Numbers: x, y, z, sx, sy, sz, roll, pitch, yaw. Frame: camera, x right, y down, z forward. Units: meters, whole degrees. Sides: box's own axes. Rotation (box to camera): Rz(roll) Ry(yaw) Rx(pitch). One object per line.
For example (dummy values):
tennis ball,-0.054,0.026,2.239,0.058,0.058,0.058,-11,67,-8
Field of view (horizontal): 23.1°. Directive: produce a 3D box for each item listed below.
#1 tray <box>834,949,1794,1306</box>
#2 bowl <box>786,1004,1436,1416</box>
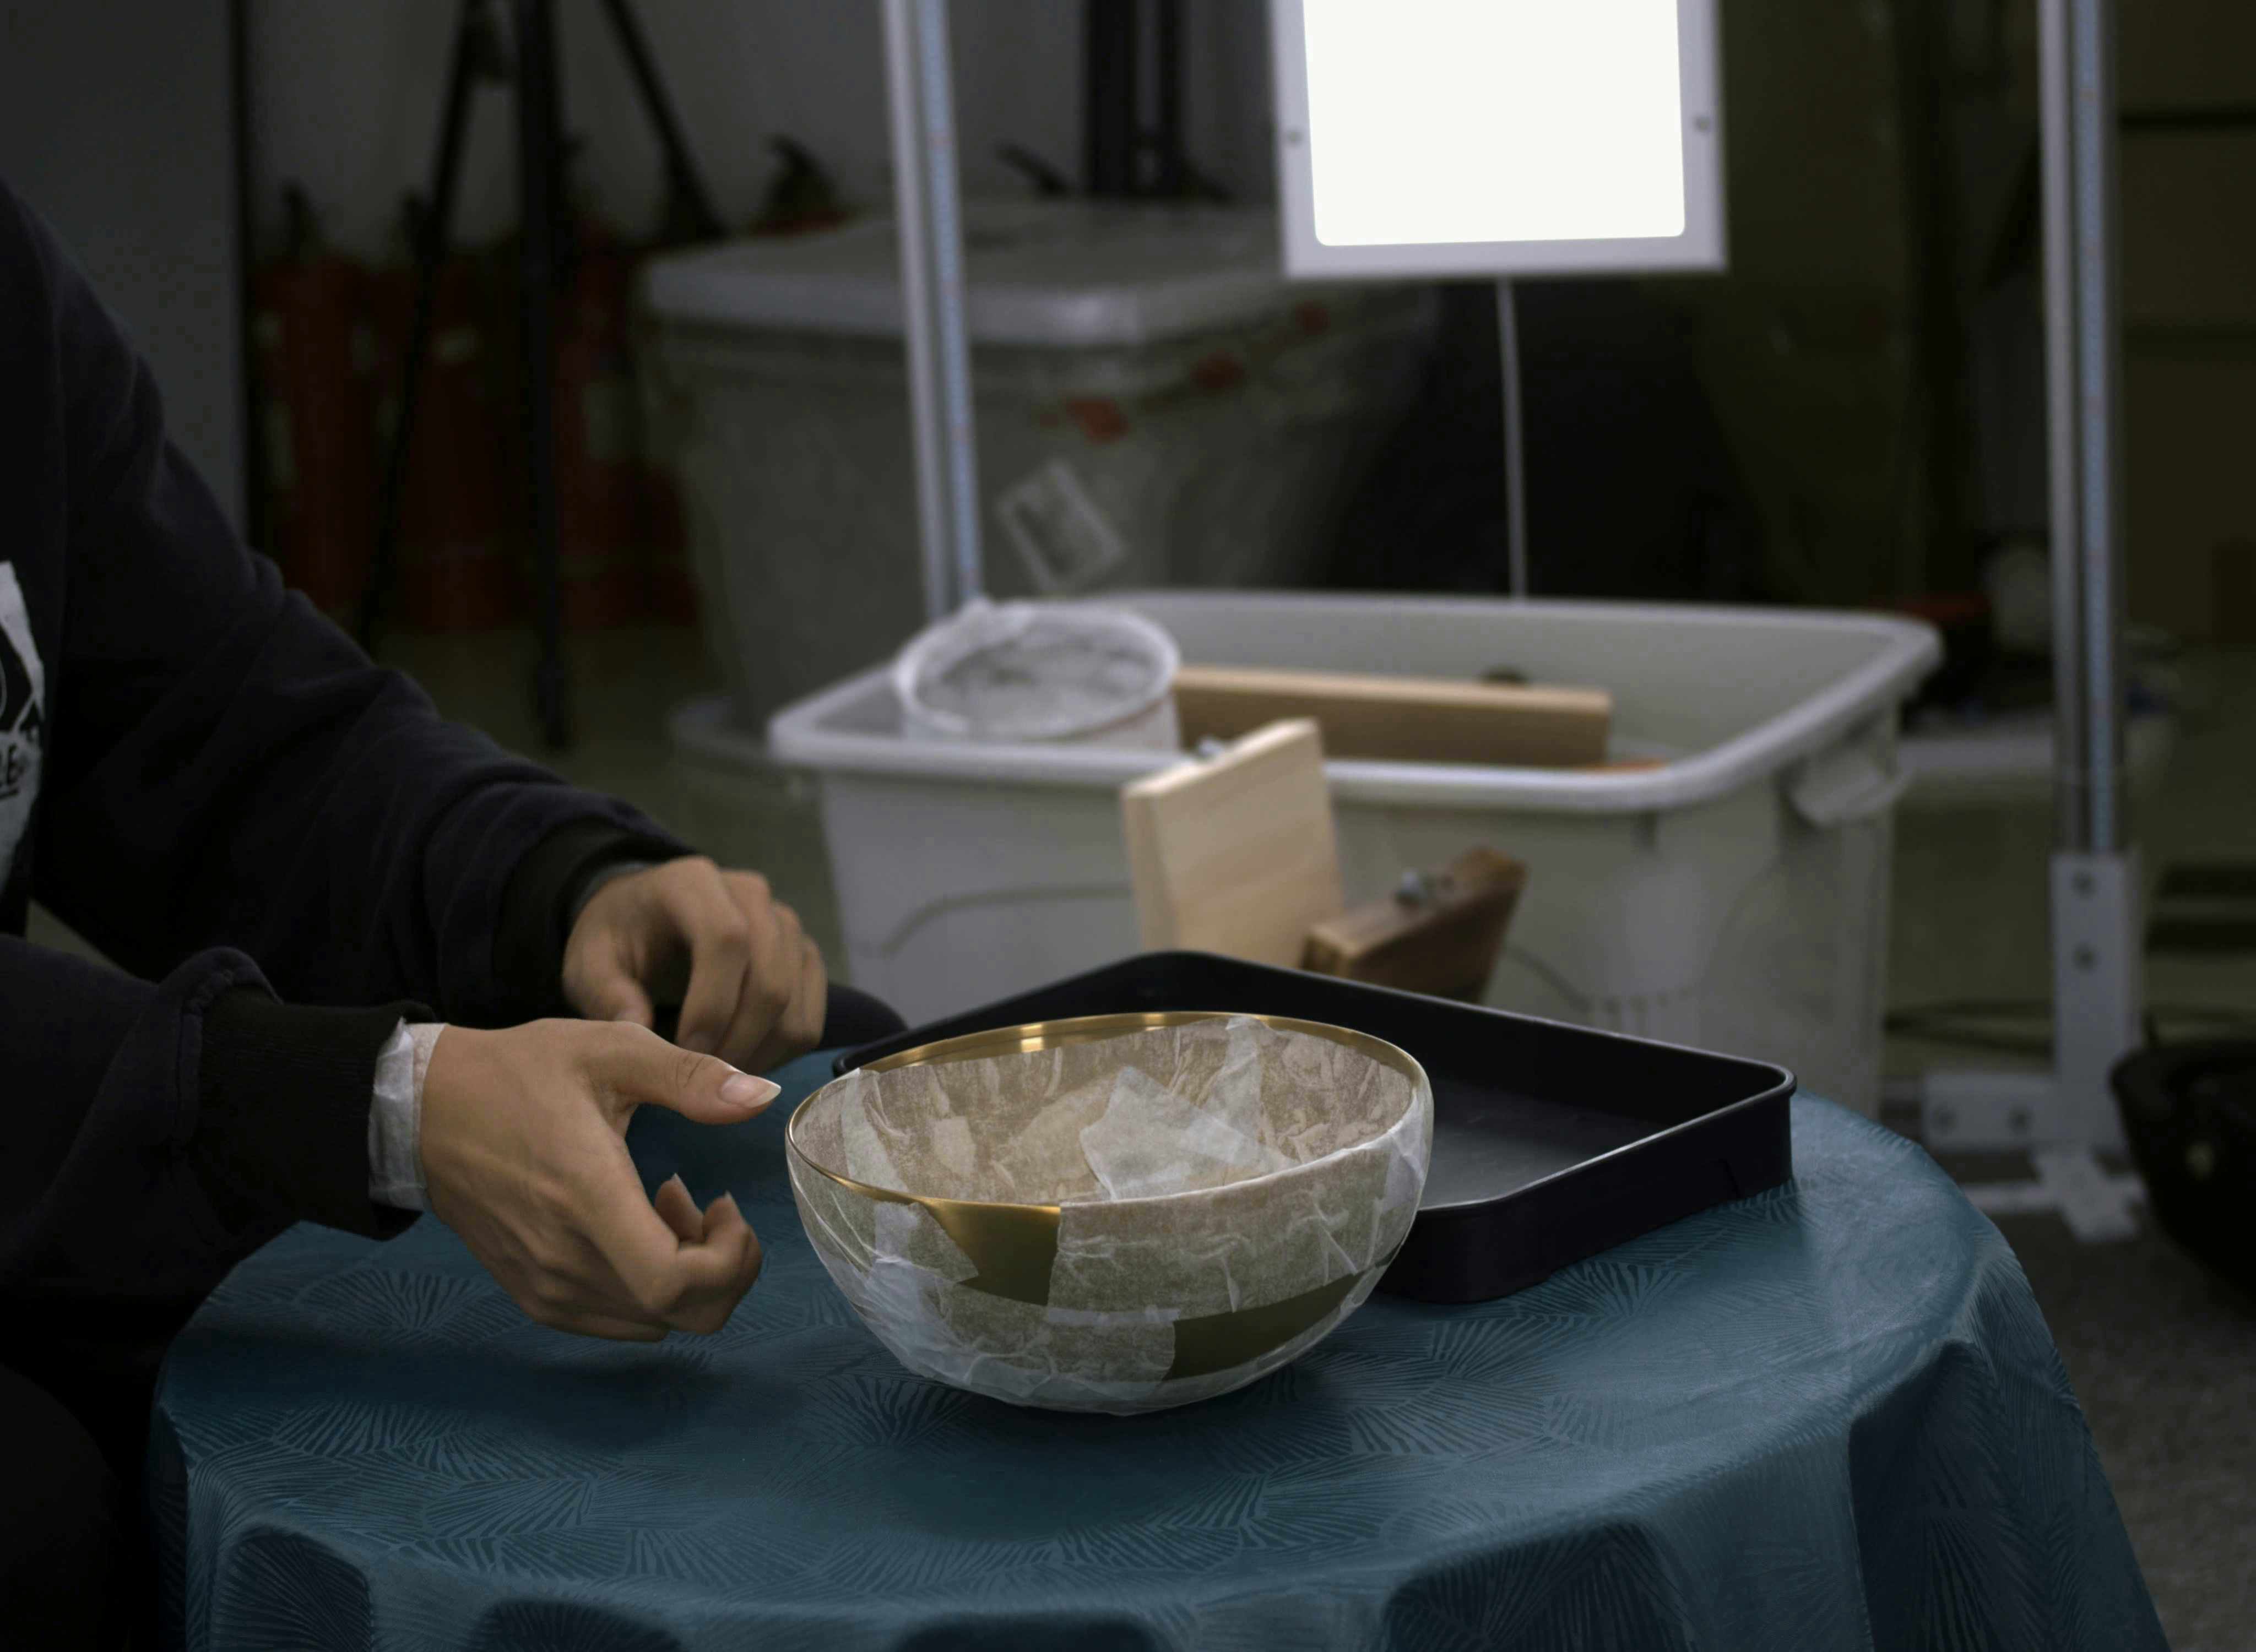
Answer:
tray,0.061,0.100,1.909,0.179,0.037,0.325,-16,18,-40
bowl,-0.004,0.126,1.707,0.214,0.095,0.214,-6,15,0
